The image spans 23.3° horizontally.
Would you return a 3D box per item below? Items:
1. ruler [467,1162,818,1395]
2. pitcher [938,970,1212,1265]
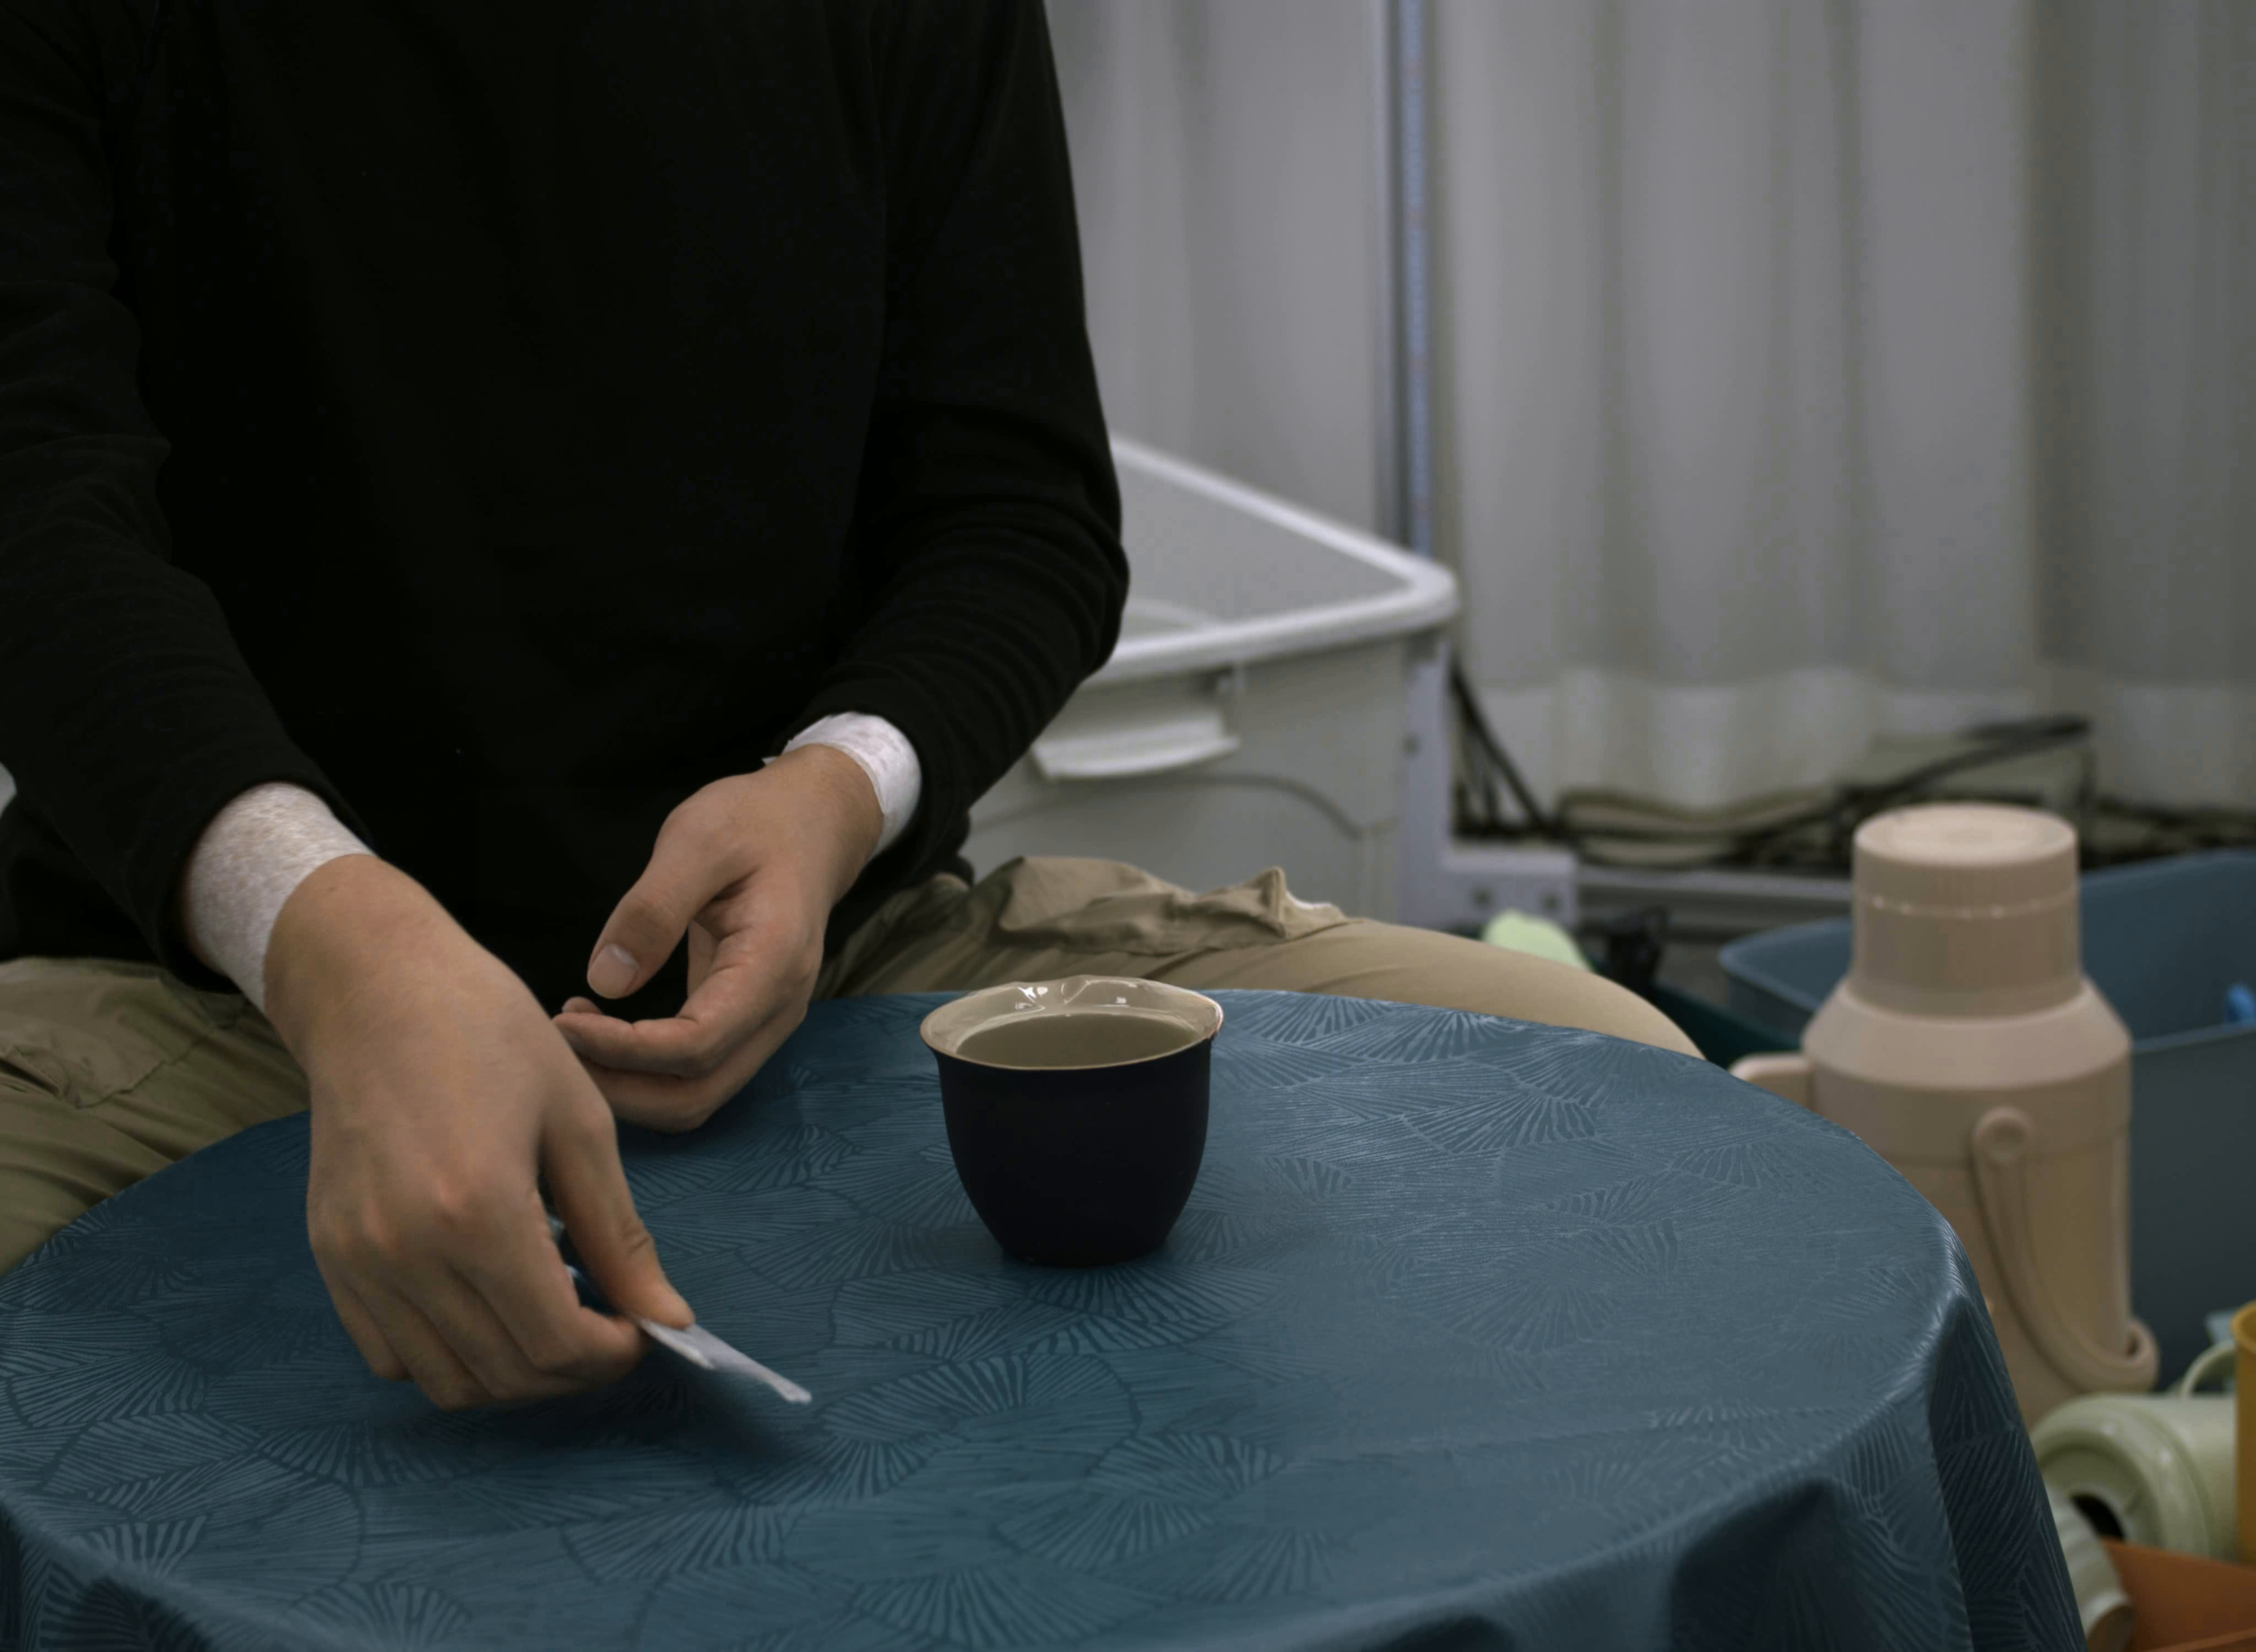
[{"bbox_3d":[-0.143,0.129,1.589,0.038,0.024,0.219,17,0,-26],"label":"ruler"},{"bbox_3d":[-0.016,0.091,1.666,0.083,0.071,0.097,-6,15,-8],"label":"pitcher"}]
